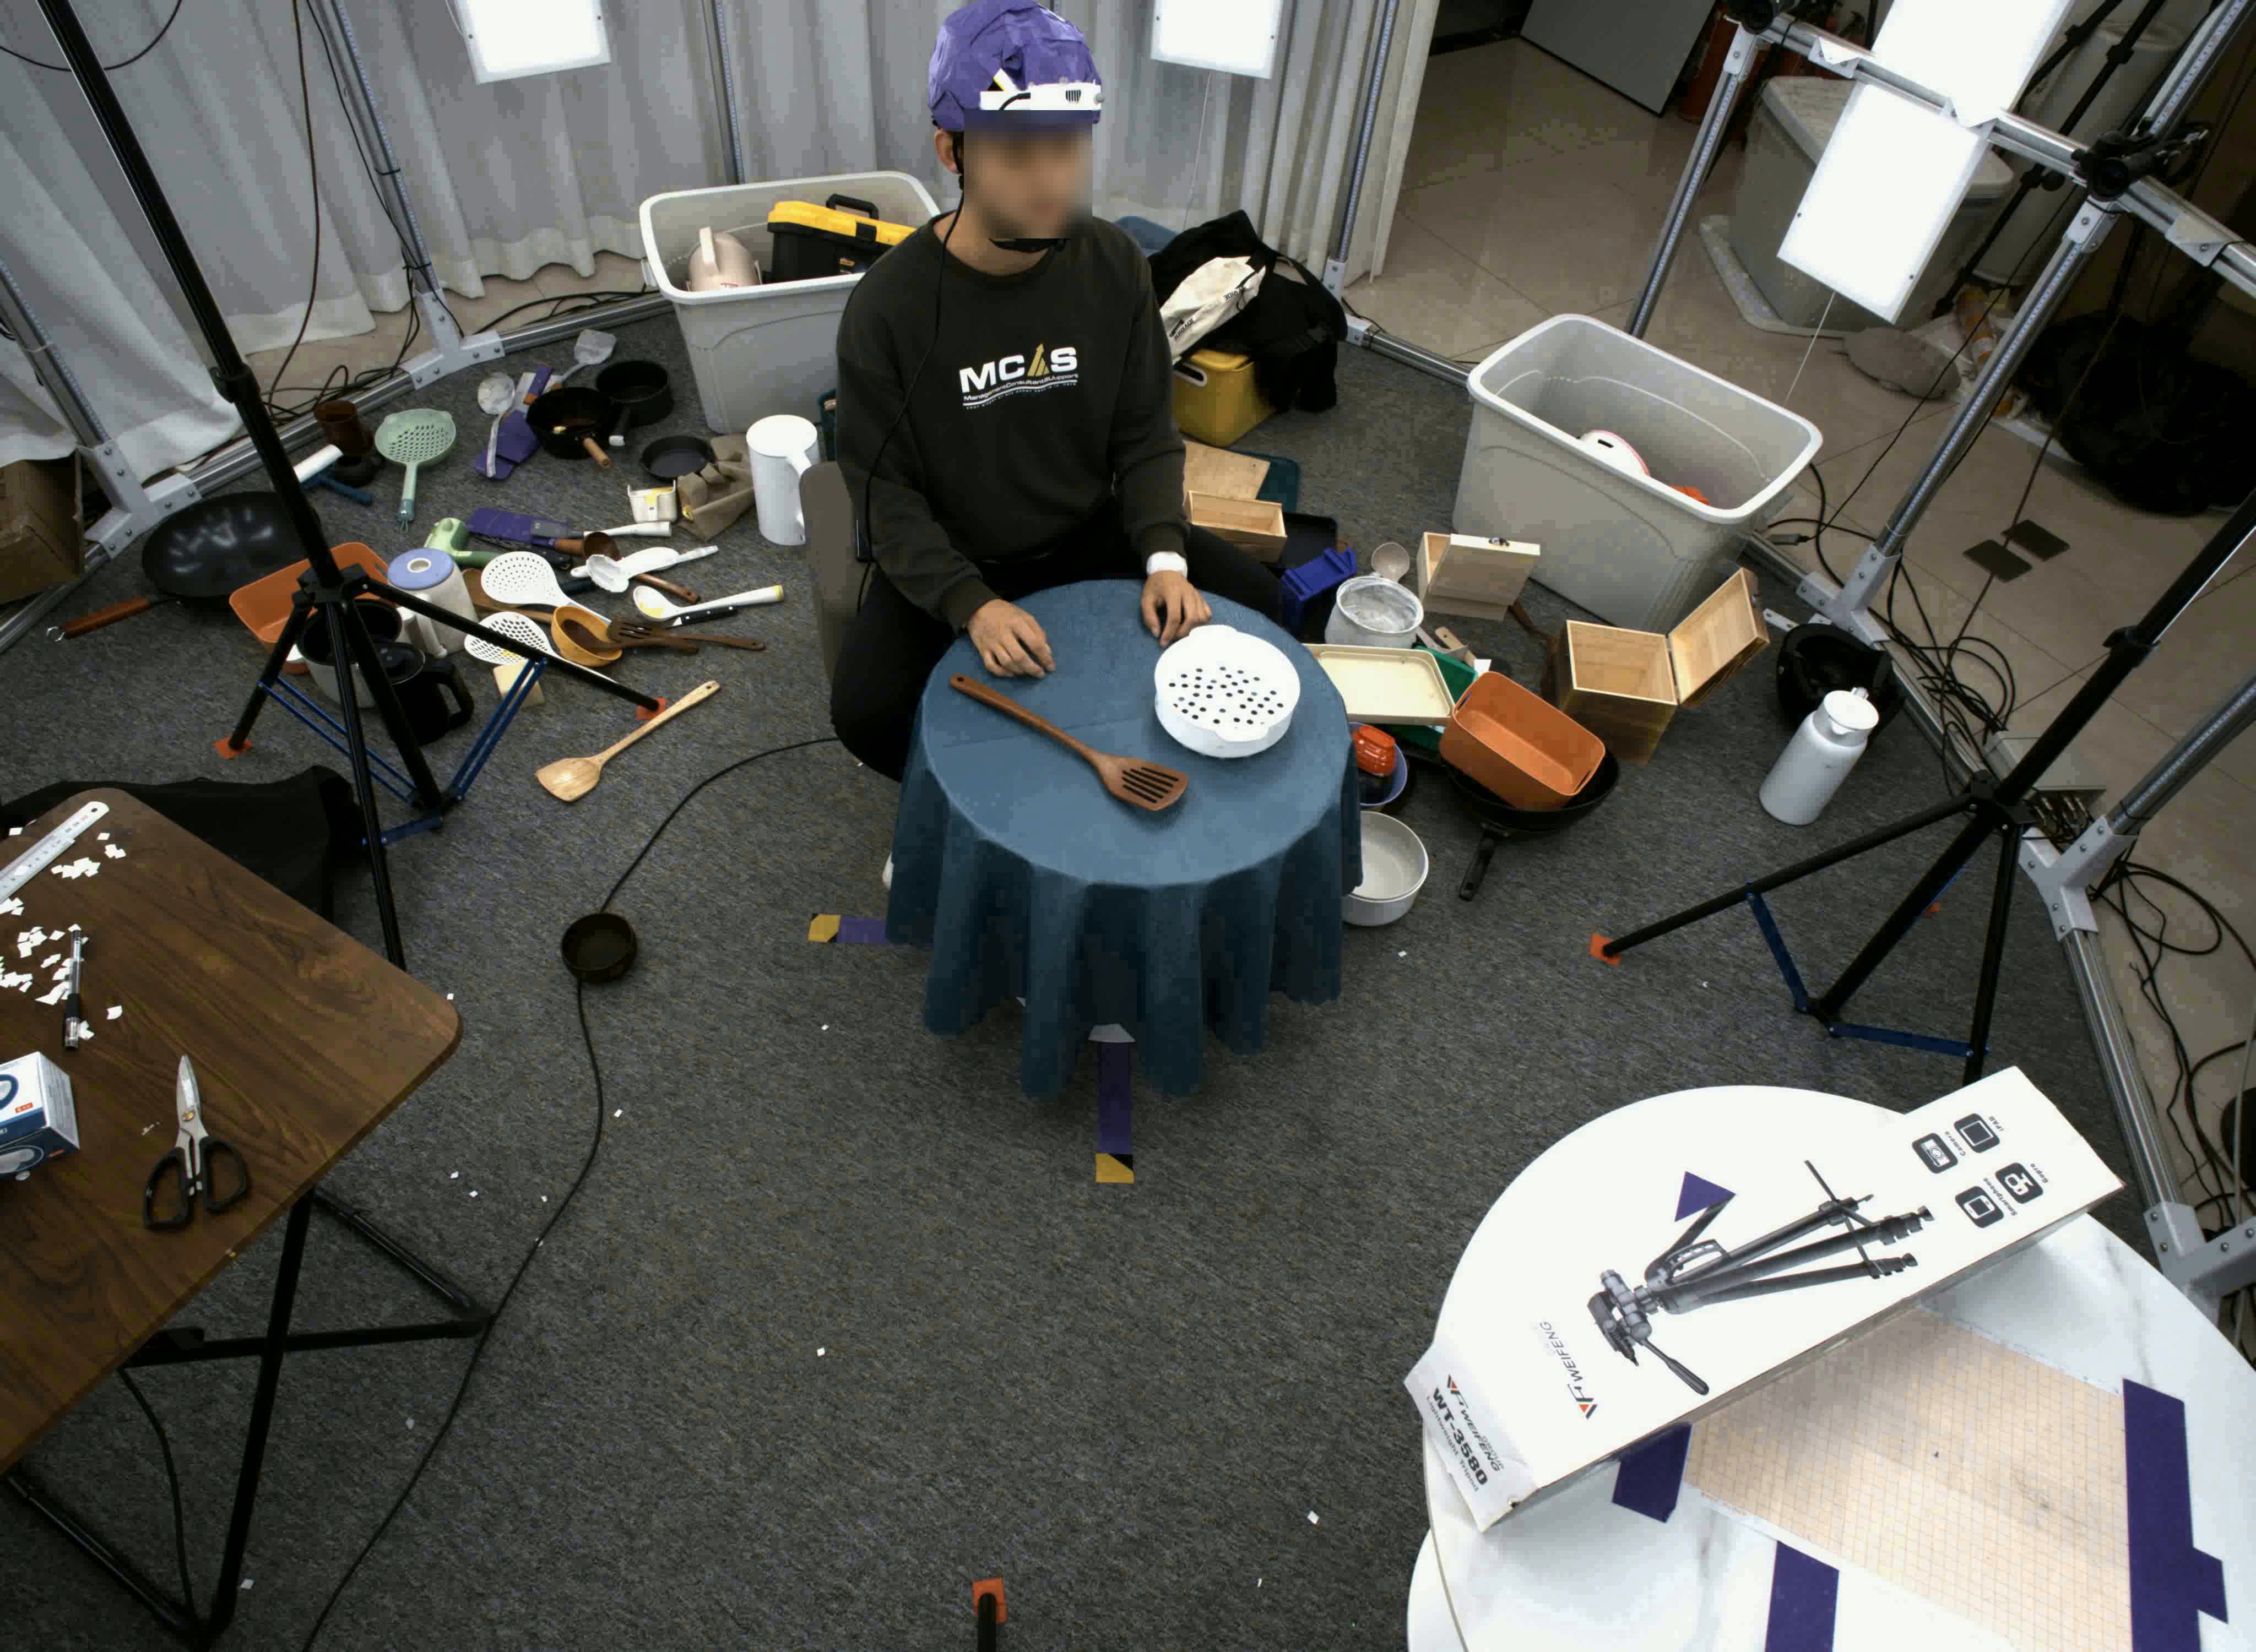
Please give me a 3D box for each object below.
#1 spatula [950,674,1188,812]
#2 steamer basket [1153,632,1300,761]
[{"bbox_3d":[-0.093,-0.120,1.752,0.389,0.023,0.087,30,51,22],"label":"spatula"},{"bbox_3d":[0.135,-0.178,1.790,0.201,0.067,0.236,-3,46,-10],"label":"steamer basket"}]
